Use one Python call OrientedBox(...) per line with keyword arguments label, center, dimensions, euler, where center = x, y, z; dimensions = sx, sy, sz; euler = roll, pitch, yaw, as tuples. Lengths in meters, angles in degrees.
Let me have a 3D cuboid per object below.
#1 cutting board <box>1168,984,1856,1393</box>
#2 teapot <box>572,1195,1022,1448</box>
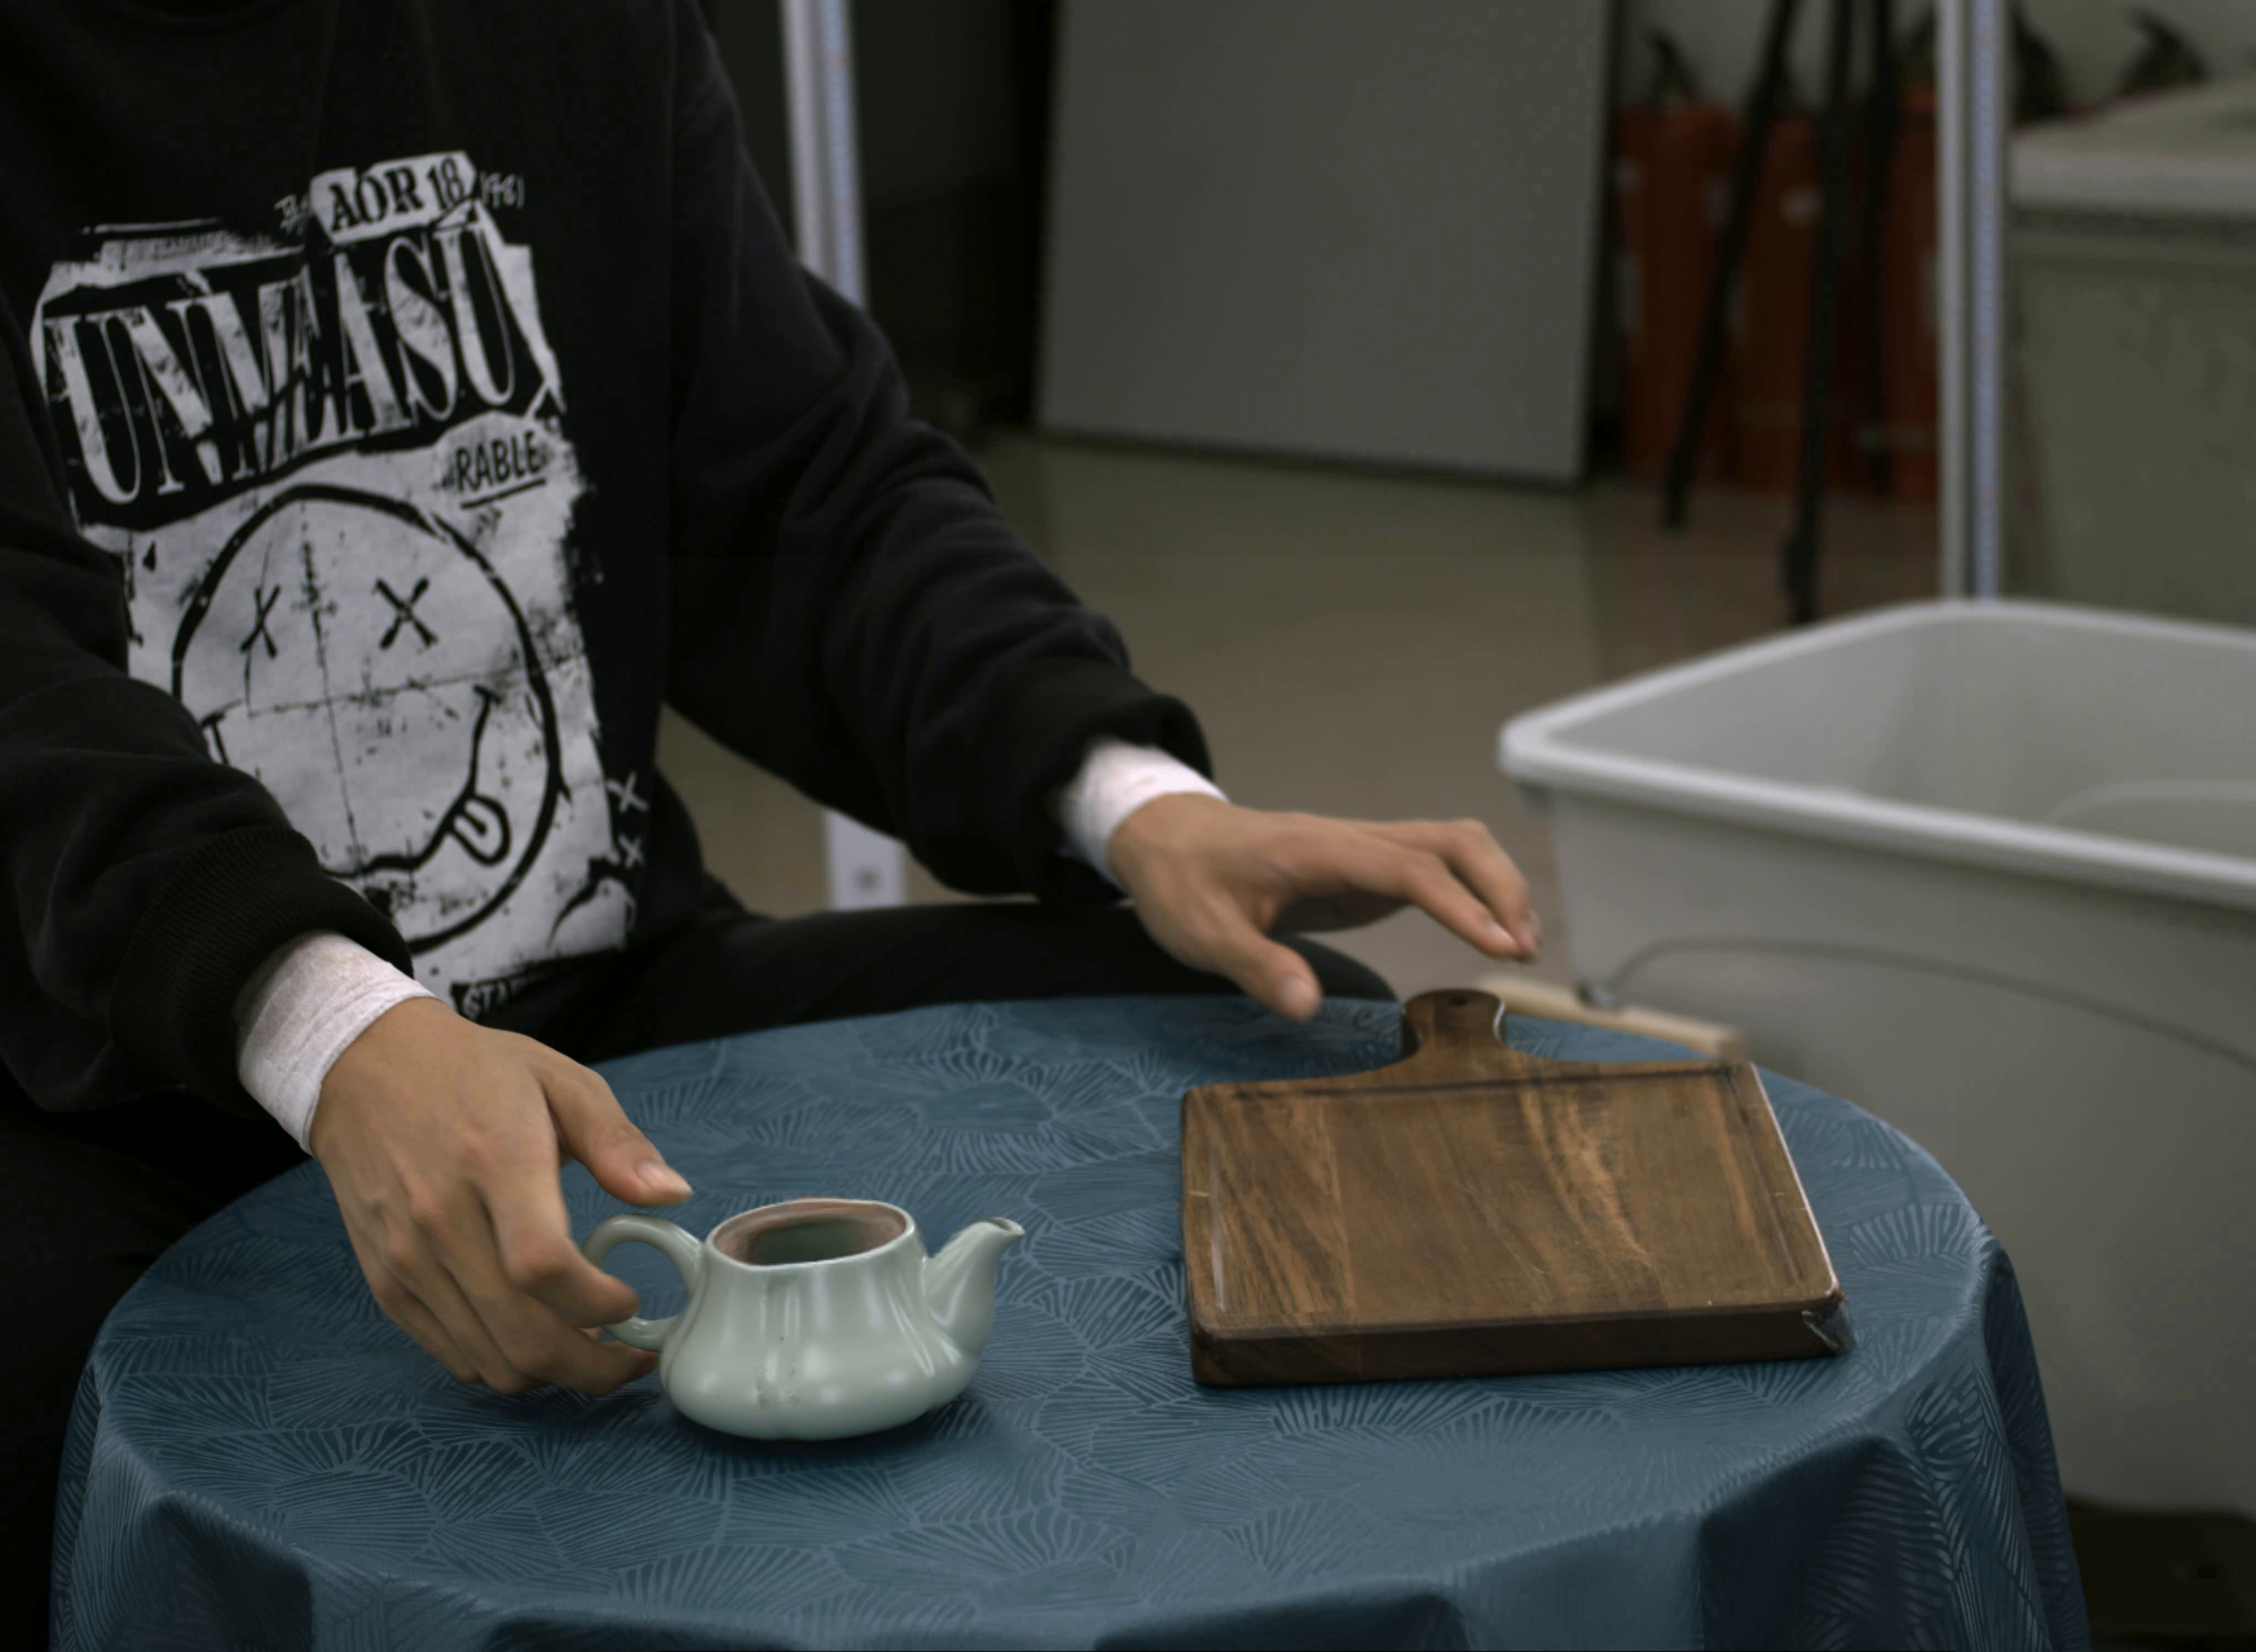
OrientedBox(label="cutting board", center=(0.113, 0.109, 1.743), dimensions=(0.198, 0.023, 0.352), euler=(-4, 14, 1))
OrientedBox(label="teapot", center=(-0.095, 0.144, 1.585), dimensions=(0.136, 0.062, 0.096), euler=(-2, 16, 10))
